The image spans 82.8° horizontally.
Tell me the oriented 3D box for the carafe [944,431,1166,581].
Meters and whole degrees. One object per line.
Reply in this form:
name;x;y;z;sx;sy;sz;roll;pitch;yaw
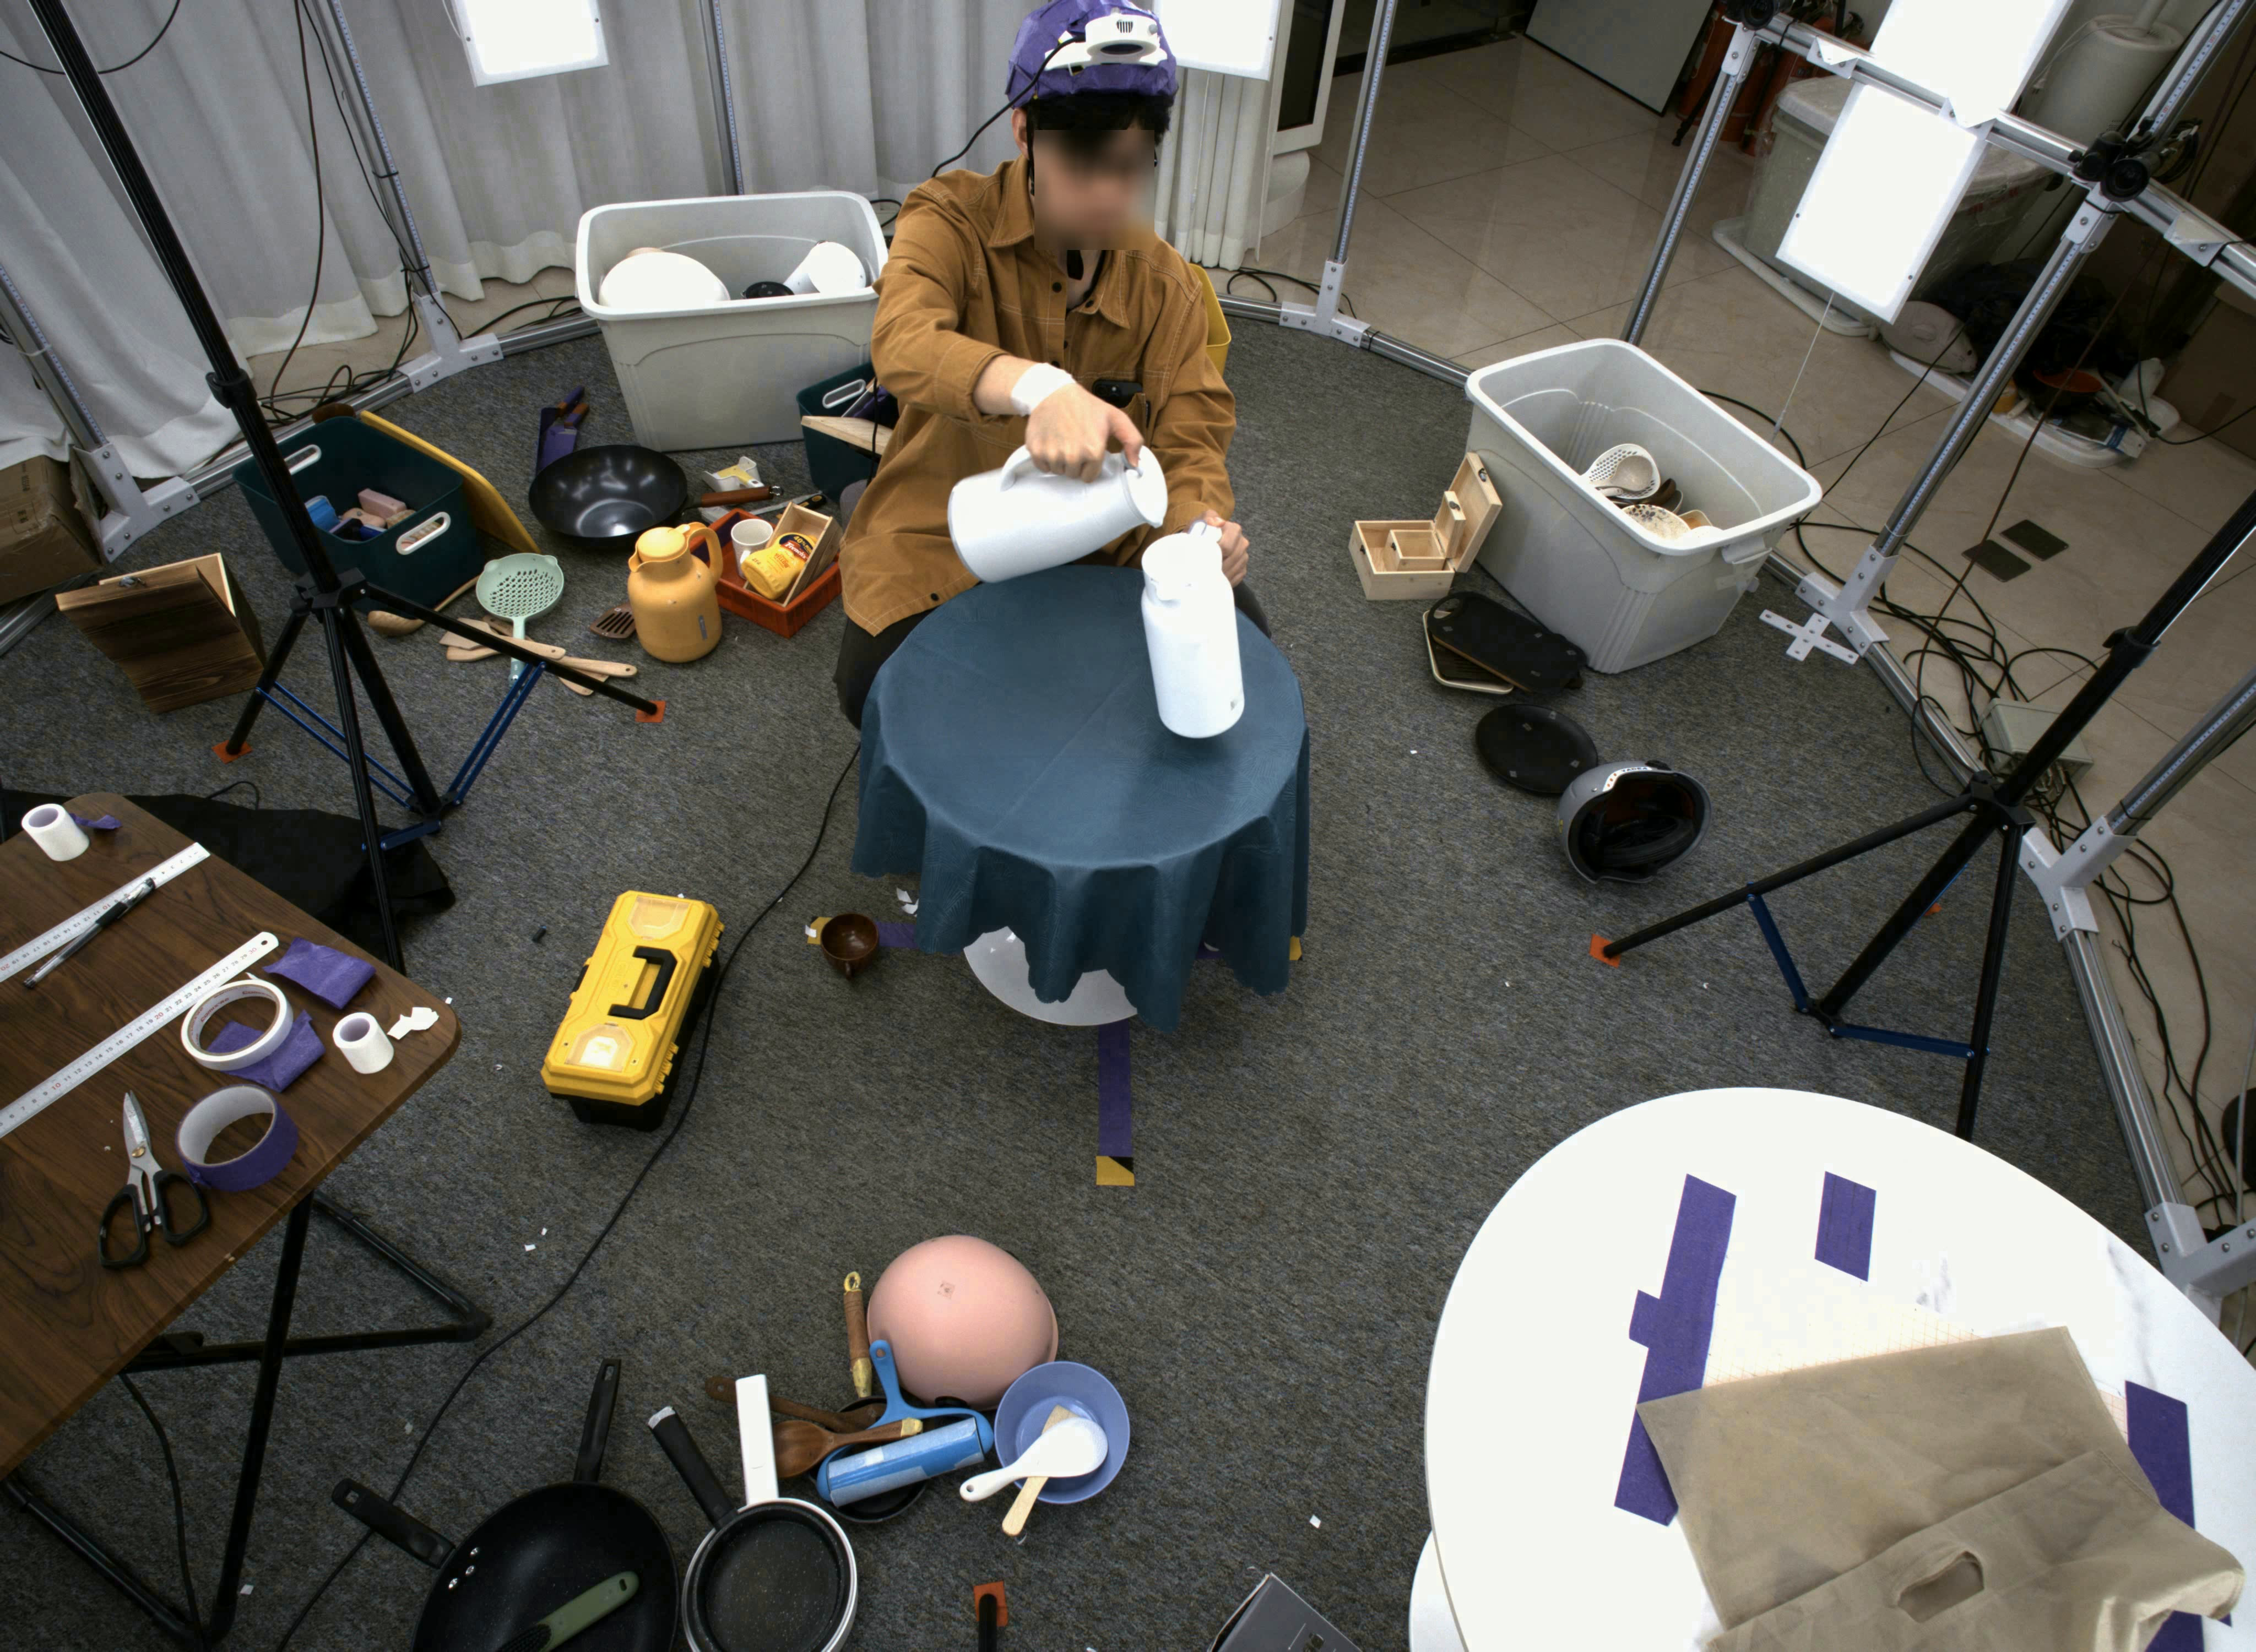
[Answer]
carafe;-0.088;-0.386;1.506;0.249;0.164;0.135;-7;59;30

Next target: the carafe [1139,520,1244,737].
carafe;0.086;-0.256;1.663;0.124;0.262;0.176;10;51;22
